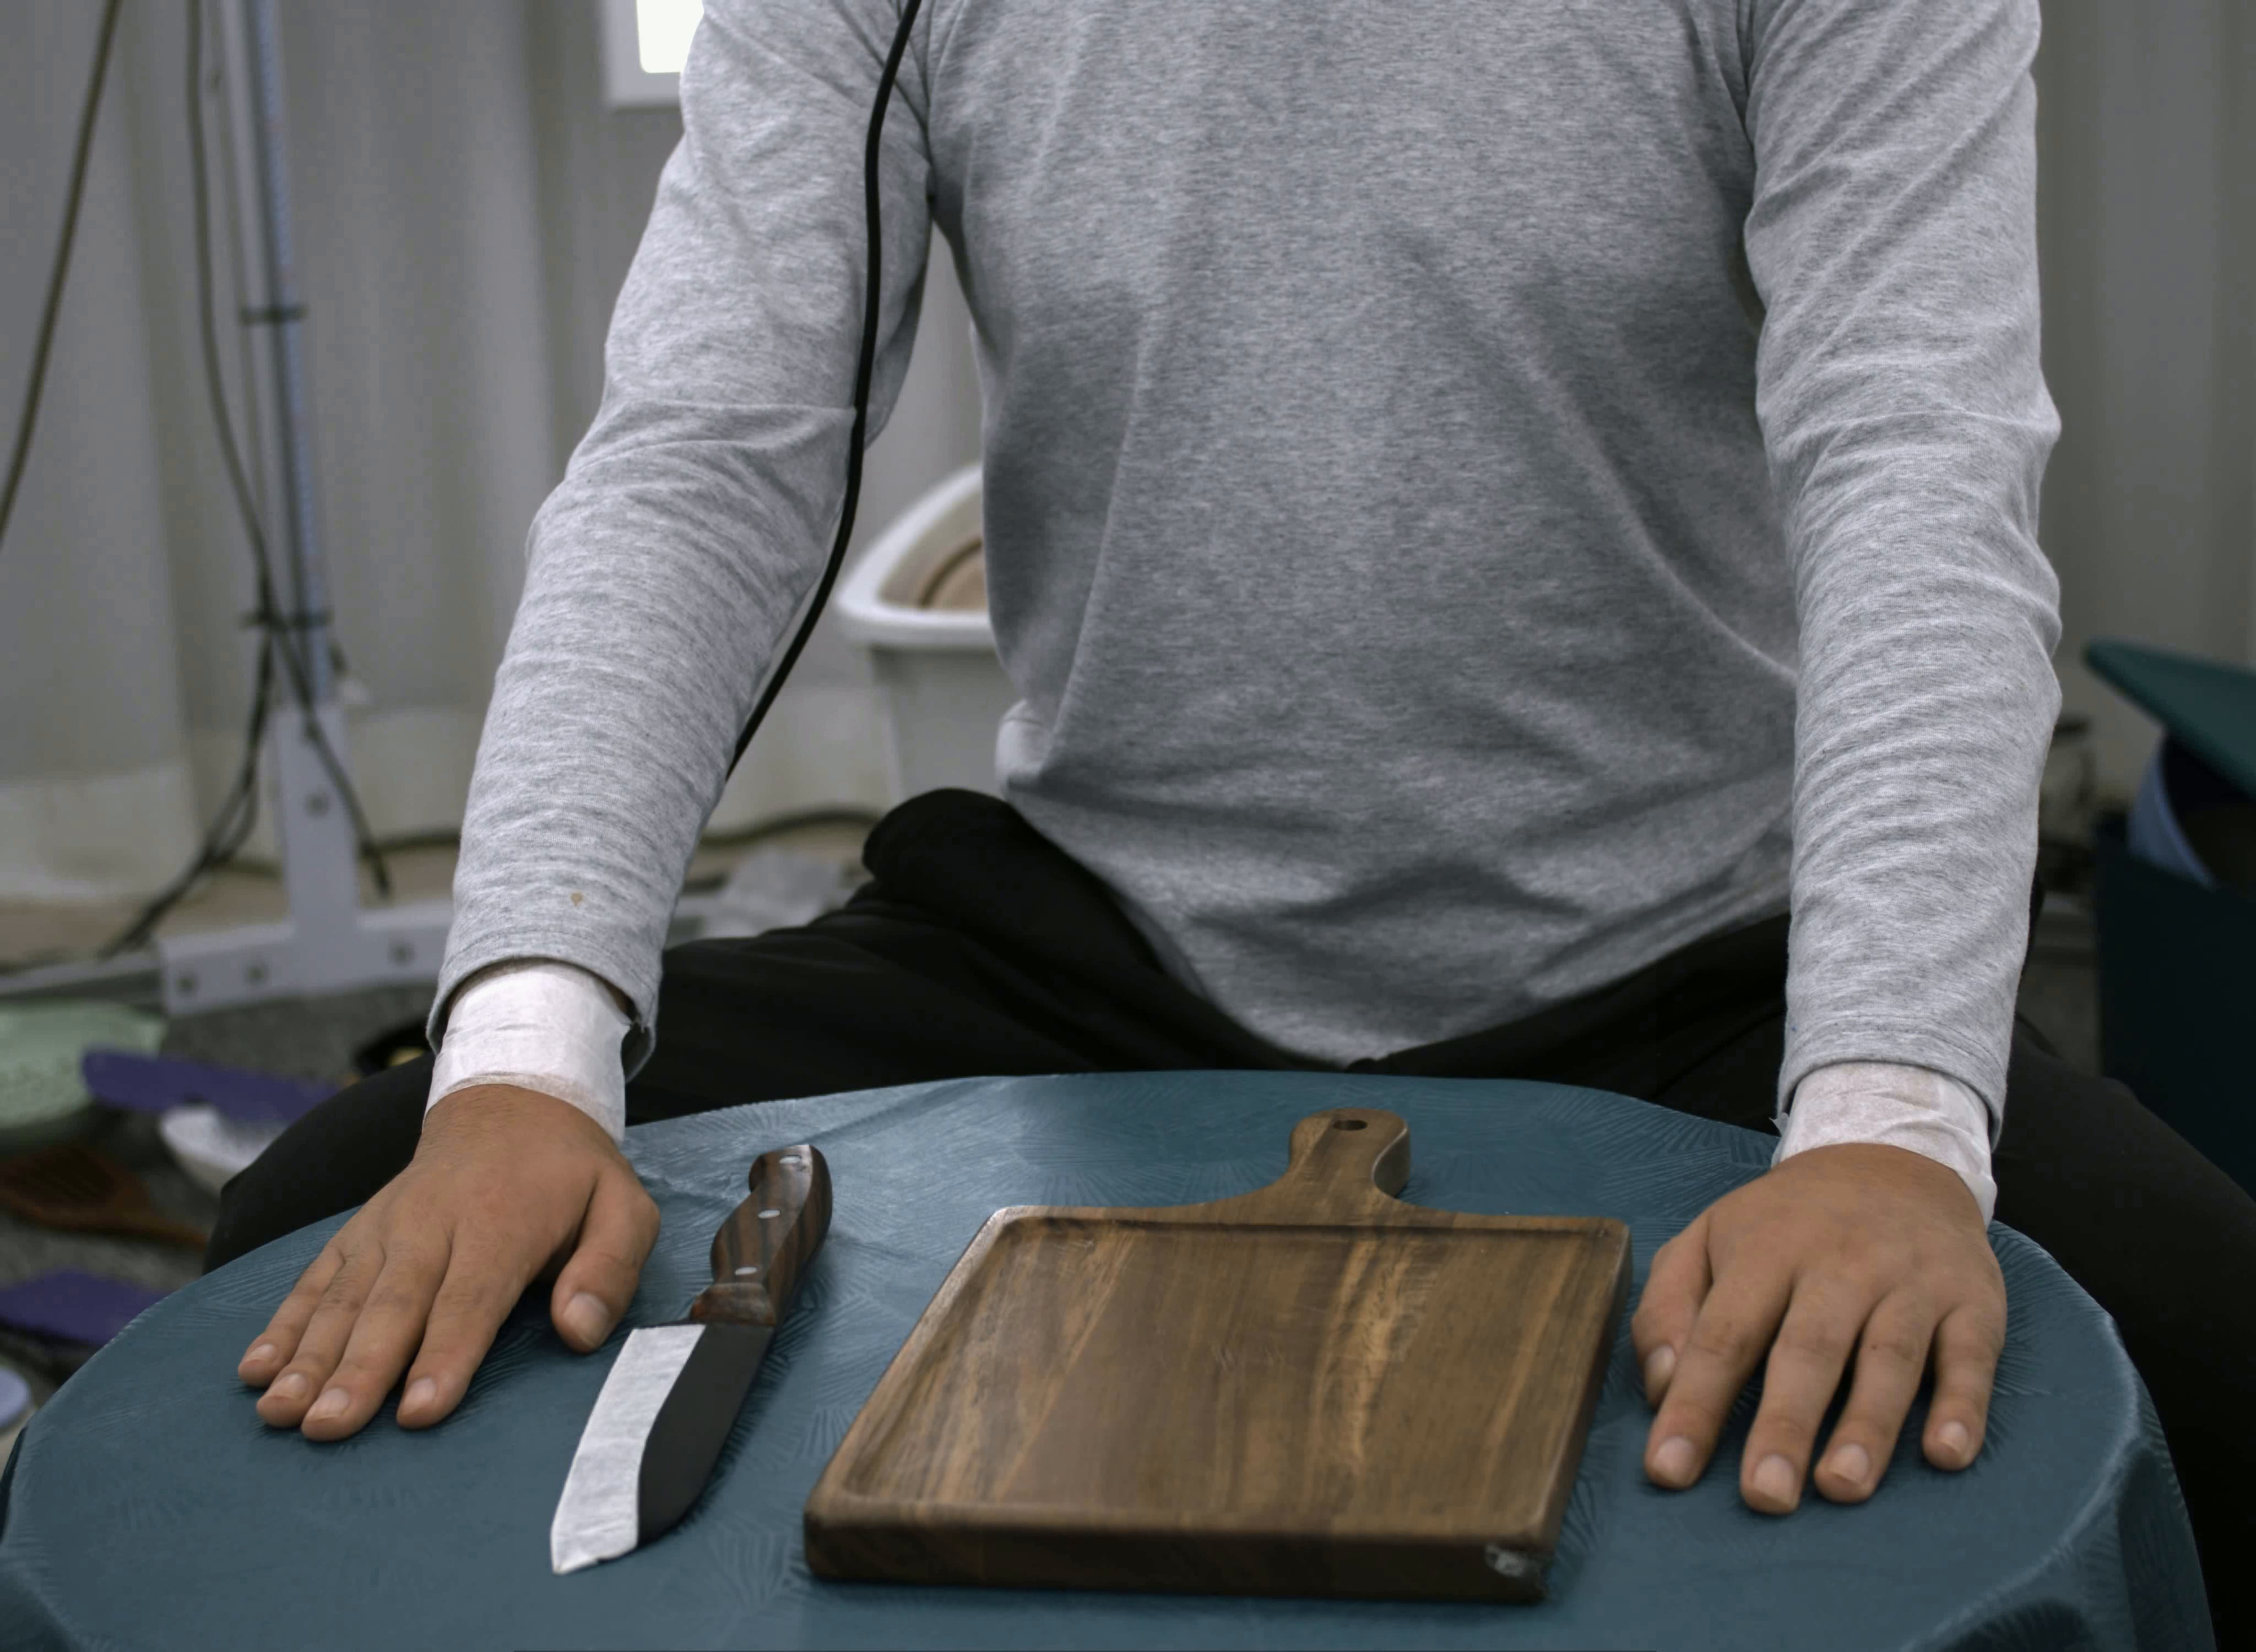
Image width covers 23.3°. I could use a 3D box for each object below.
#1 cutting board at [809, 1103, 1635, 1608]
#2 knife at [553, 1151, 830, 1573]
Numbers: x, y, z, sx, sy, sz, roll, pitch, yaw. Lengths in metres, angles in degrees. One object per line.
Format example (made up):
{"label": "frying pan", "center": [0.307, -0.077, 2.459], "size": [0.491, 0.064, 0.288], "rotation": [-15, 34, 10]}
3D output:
{"label": "cutting board", "center": [0.042, 0.143, 1.564], "size": [0.201, 0.023, 0.354], "rotation": [1, 15, 11]}
{"label": "knife", "center": [-0.123, 0.153, 1.570], "size": [0.050, 0.020, 0.291], "rotation": [-5, 17, 10]}
